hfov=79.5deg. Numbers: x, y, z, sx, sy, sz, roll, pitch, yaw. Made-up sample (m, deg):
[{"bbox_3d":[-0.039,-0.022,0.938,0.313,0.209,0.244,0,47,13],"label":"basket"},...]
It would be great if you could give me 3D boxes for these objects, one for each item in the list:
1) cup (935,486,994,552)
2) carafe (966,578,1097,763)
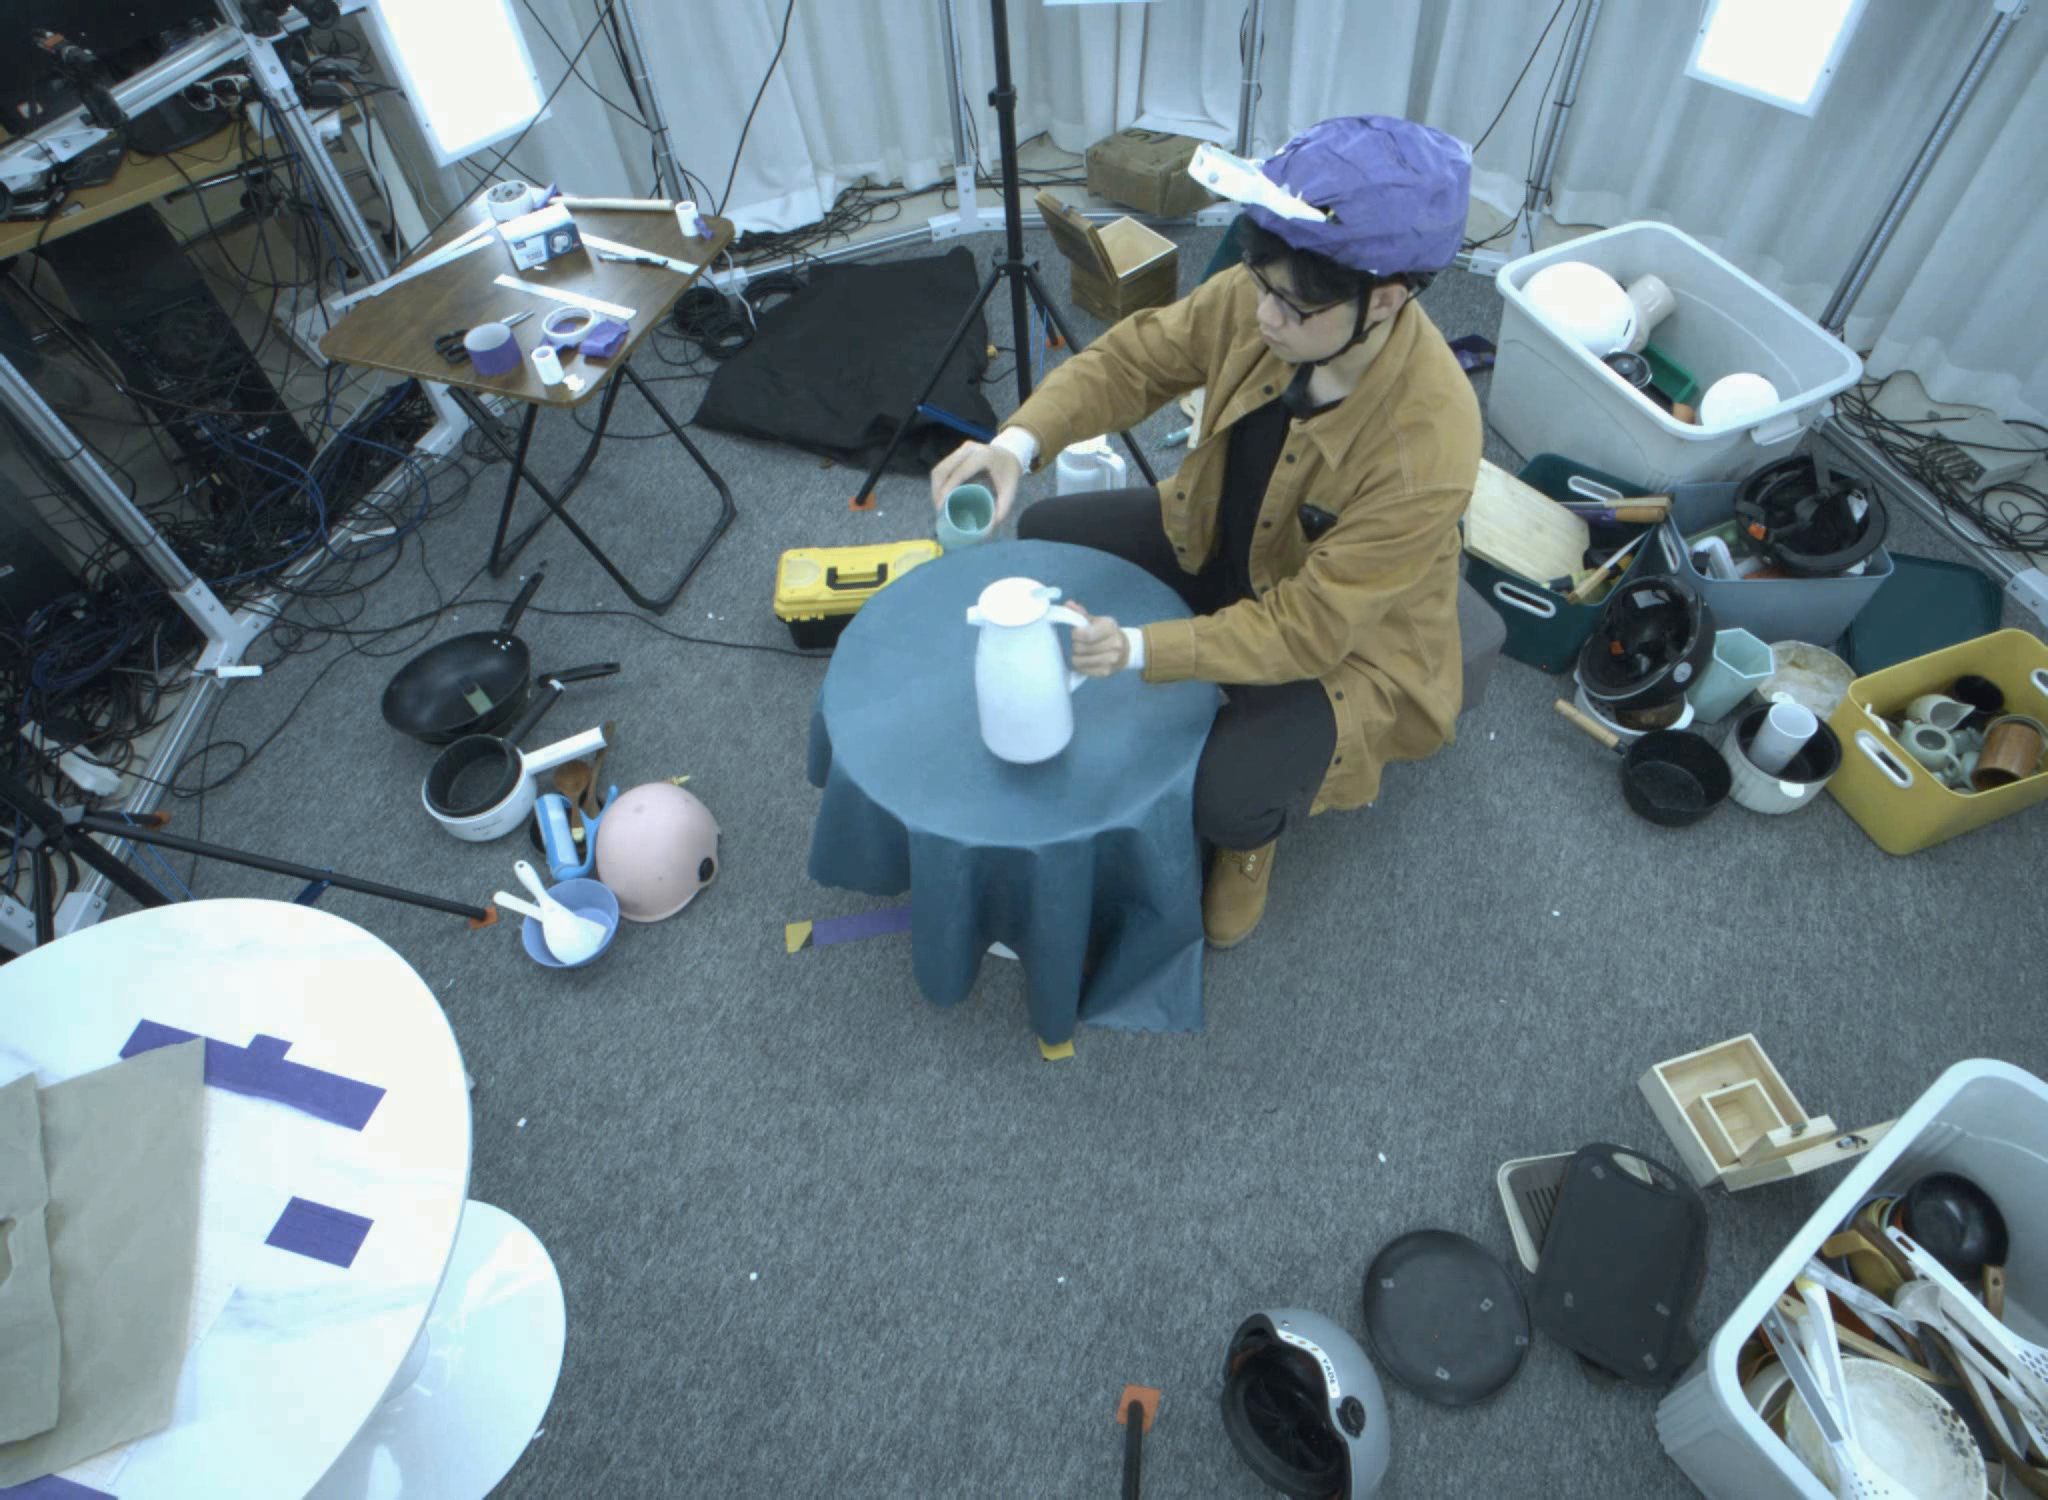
[{"bbox_3d":[-0.083,-0.311,1.645,0.067,0.131,0.066,1,87,-12],"label":"cup"},{"bbox_3d":[0.014,-0.114,1.645,0.168,0.251,0.131,-6,49,-1],"label":"carafe"}]
